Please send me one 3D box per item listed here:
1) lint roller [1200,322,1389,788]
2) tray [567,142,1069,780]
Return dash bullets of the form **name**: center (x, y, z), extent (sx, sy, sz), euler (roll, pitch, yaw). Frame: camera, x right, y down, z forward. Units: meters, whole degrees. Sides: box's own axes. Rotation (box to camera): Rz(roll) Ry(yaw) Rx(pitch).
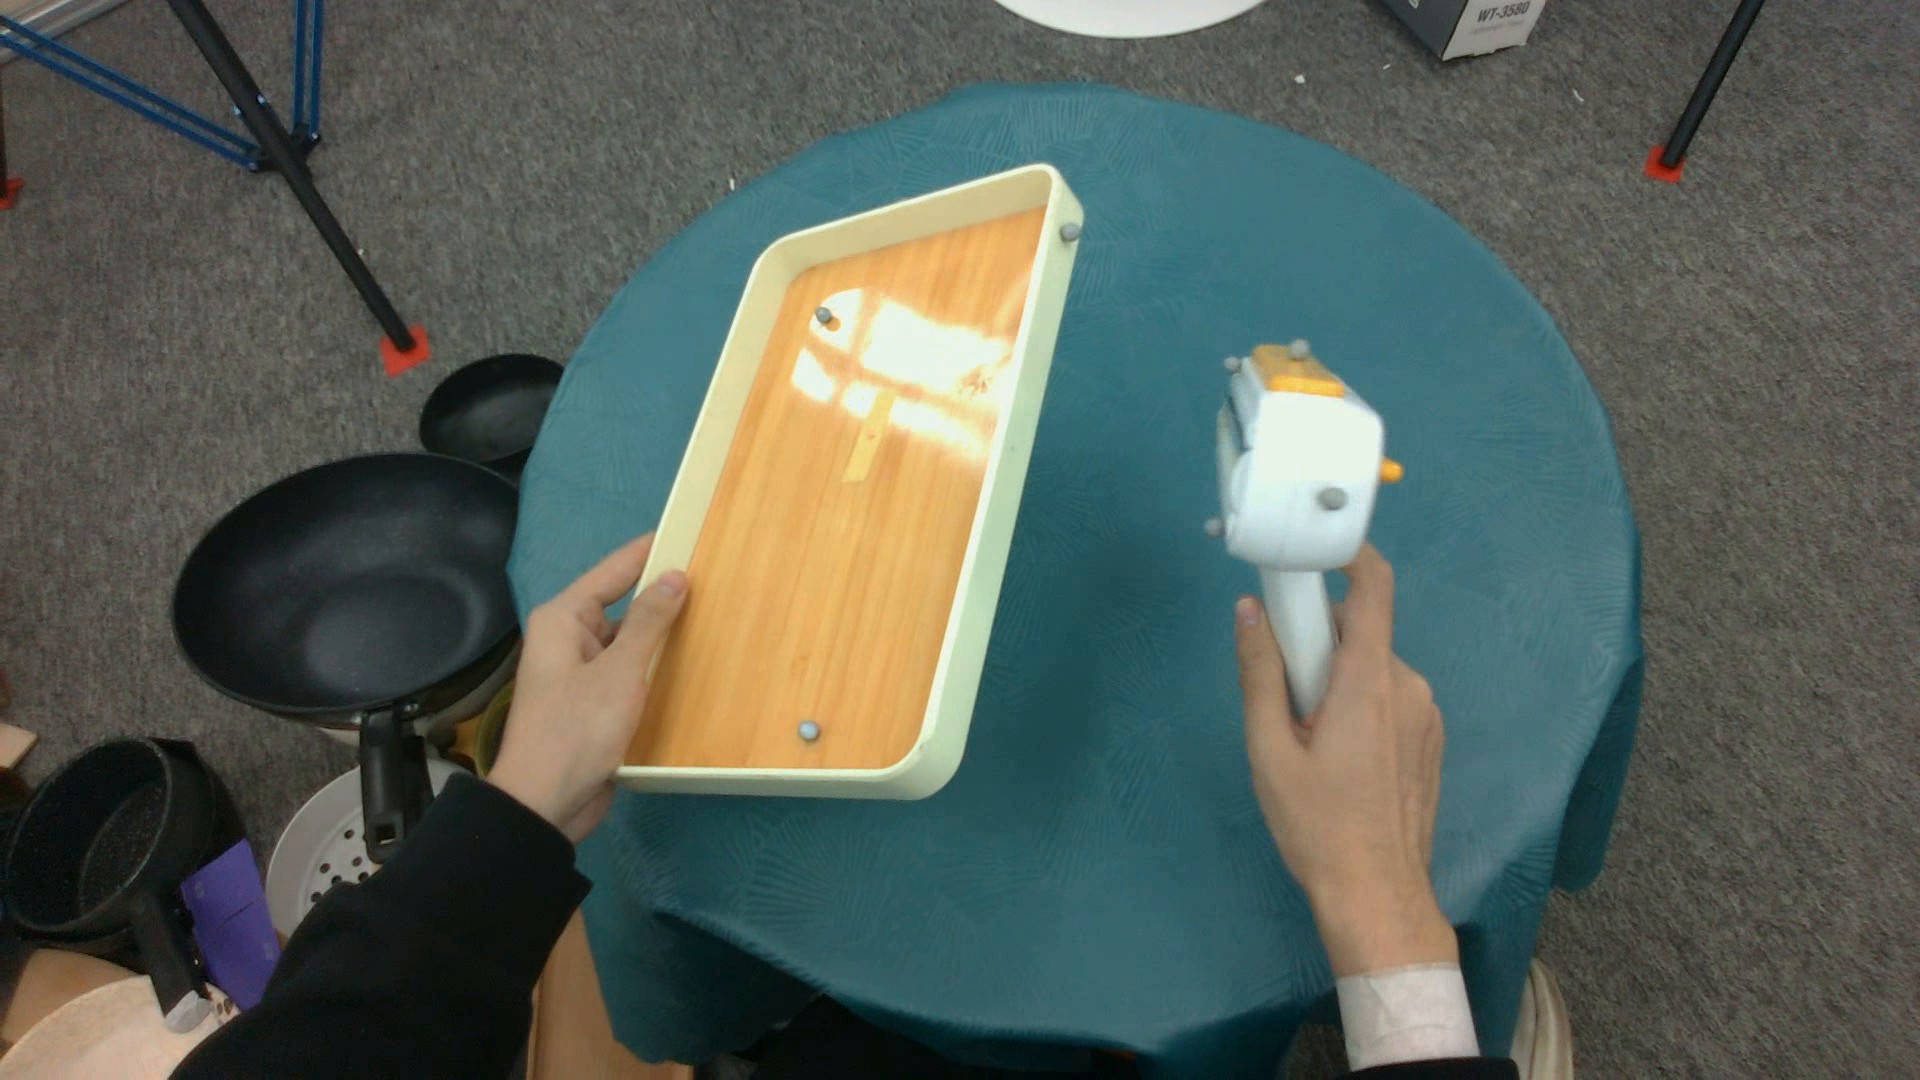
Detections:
- **lint roller**: center (0.134, 0.014, 0.576), extent (0.074, 0.192, 0.193), euler (1, 17, 3)
- **tray**: center (-0.060, -0.039, 0.618), extent (0.191, 0.027, 0.301), euler (-6, 58, 35)
